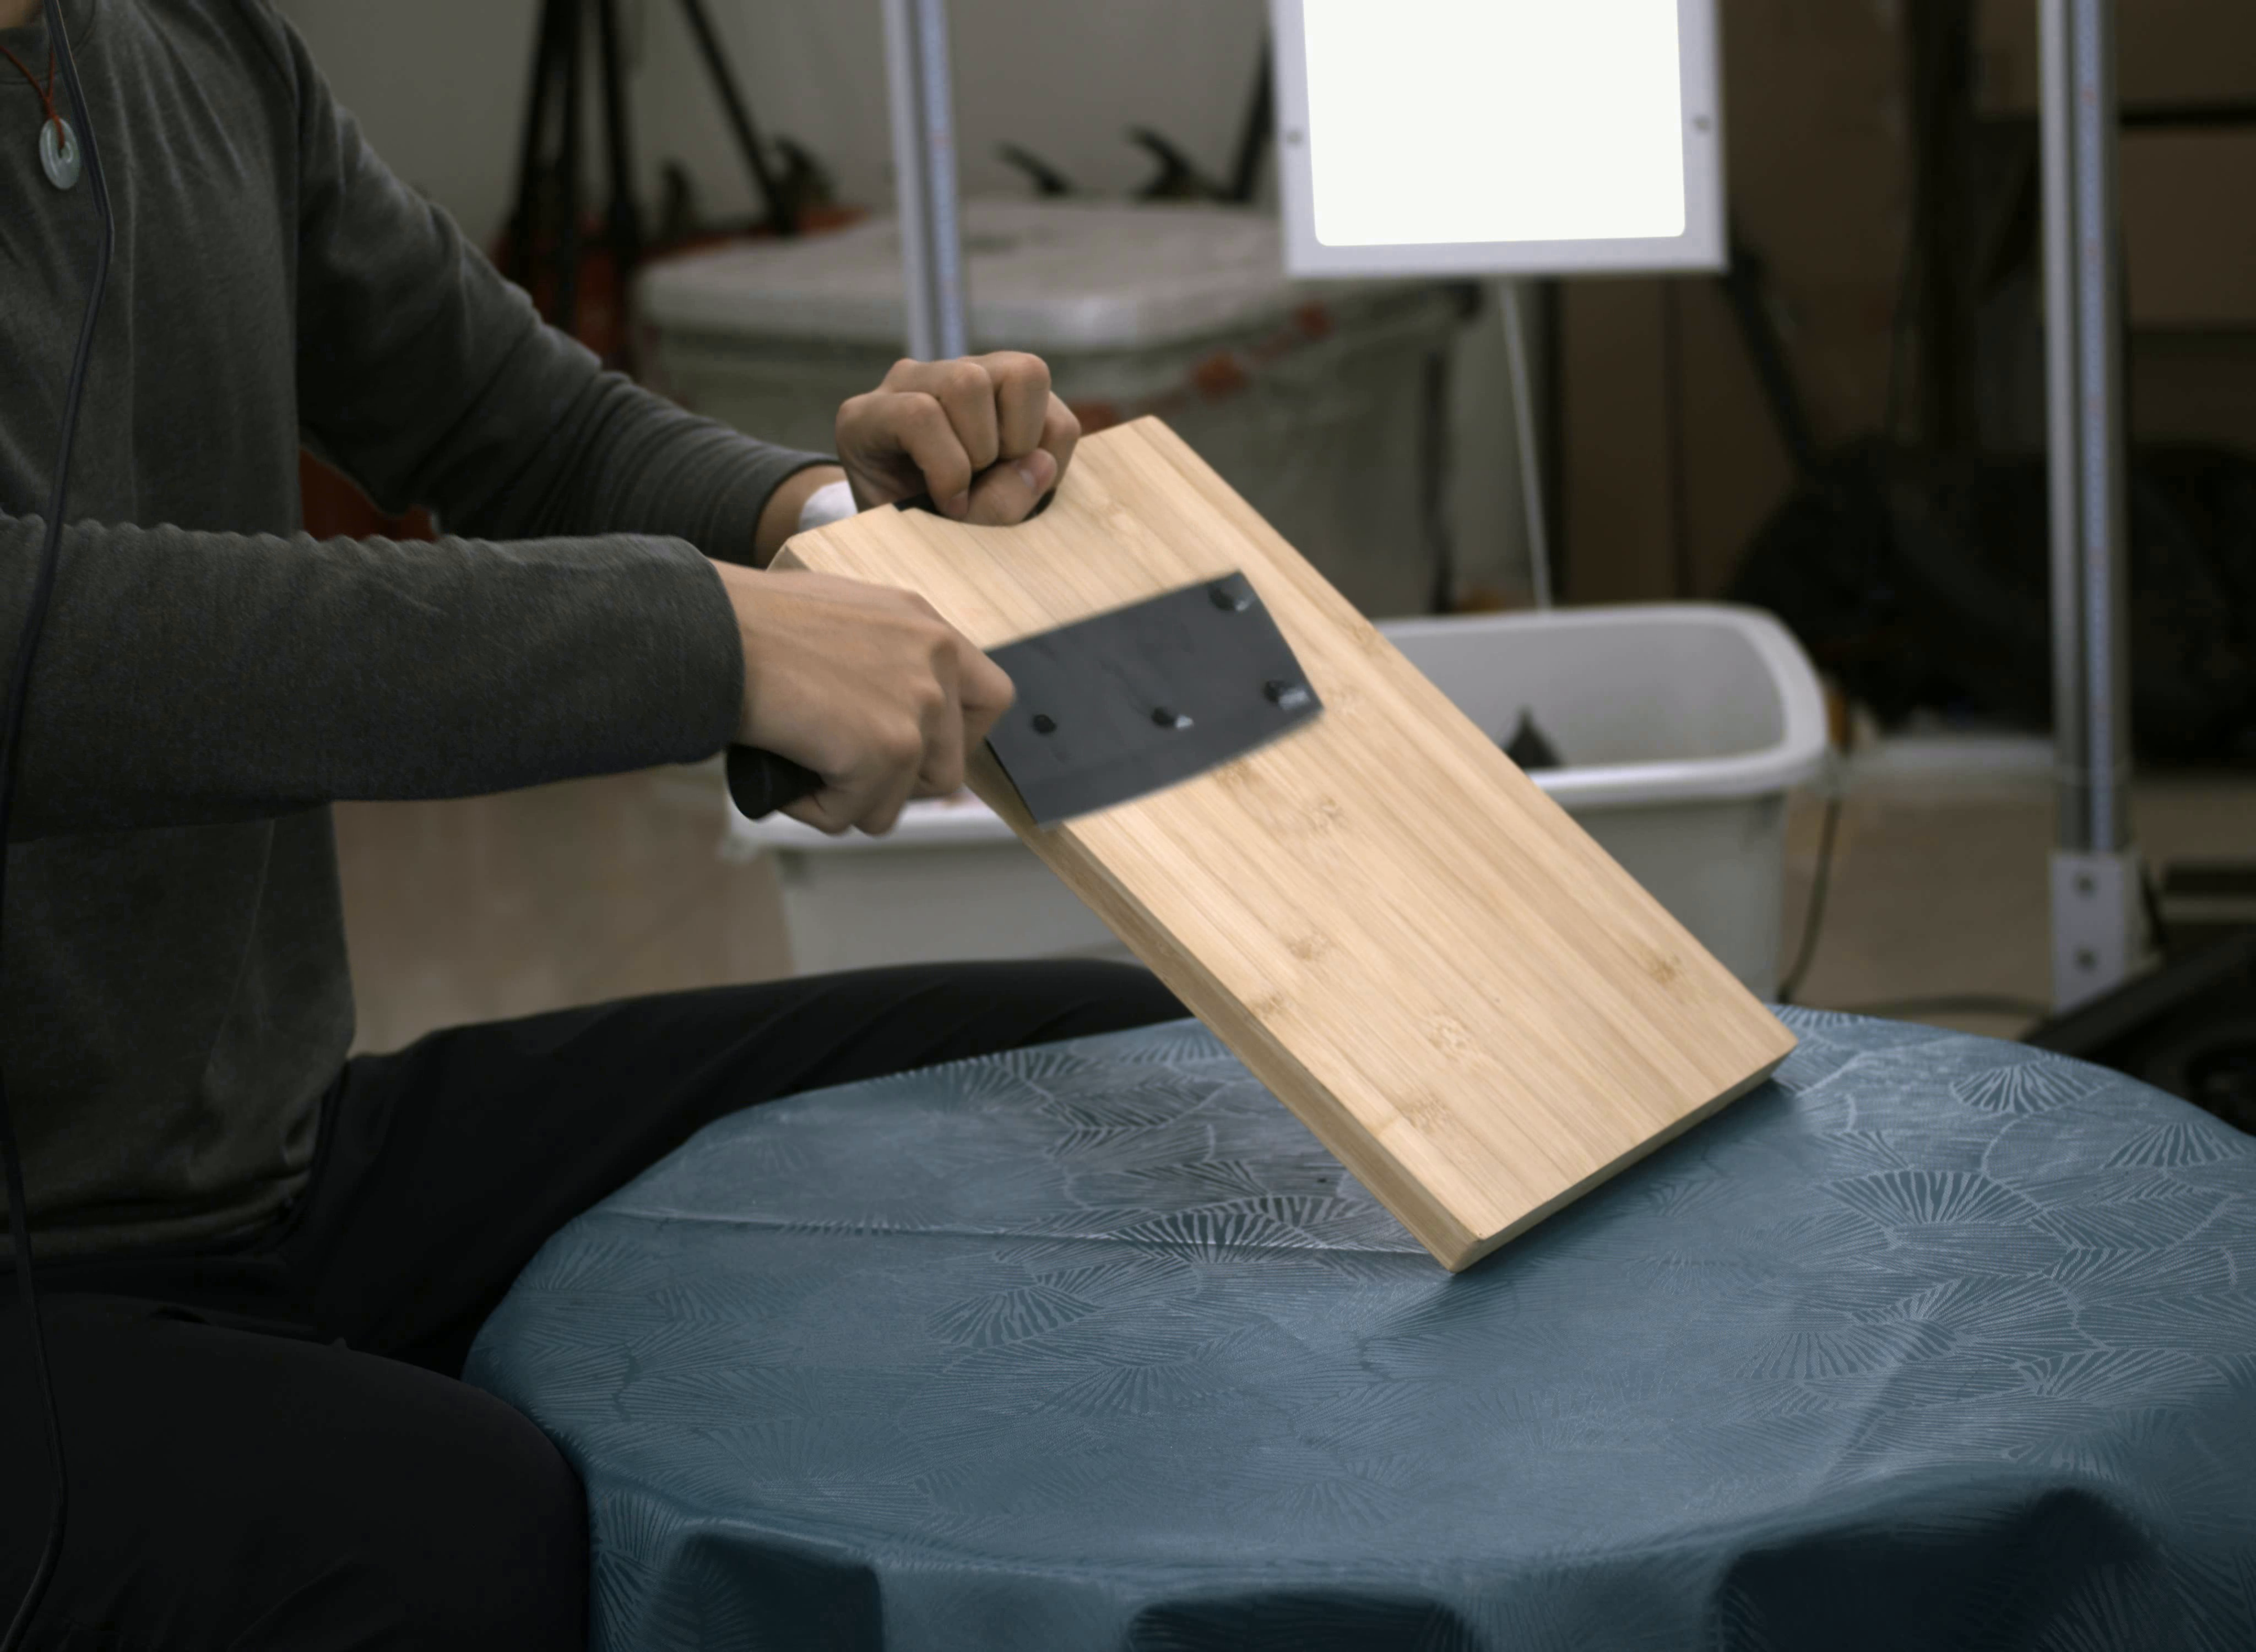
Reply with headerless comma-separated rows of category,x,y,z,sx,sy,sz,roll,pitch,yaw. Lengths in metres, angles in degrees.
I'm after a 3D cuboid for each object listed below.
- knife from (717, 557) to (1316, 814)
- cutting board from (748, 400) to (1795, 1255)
knife,-0.033,-0.040,1.851,0.294,0.081,0.021,-14,-19,-50
cutting board,0.054,-0.007,1.923,0.351,0.024,0.245,44,34,15
